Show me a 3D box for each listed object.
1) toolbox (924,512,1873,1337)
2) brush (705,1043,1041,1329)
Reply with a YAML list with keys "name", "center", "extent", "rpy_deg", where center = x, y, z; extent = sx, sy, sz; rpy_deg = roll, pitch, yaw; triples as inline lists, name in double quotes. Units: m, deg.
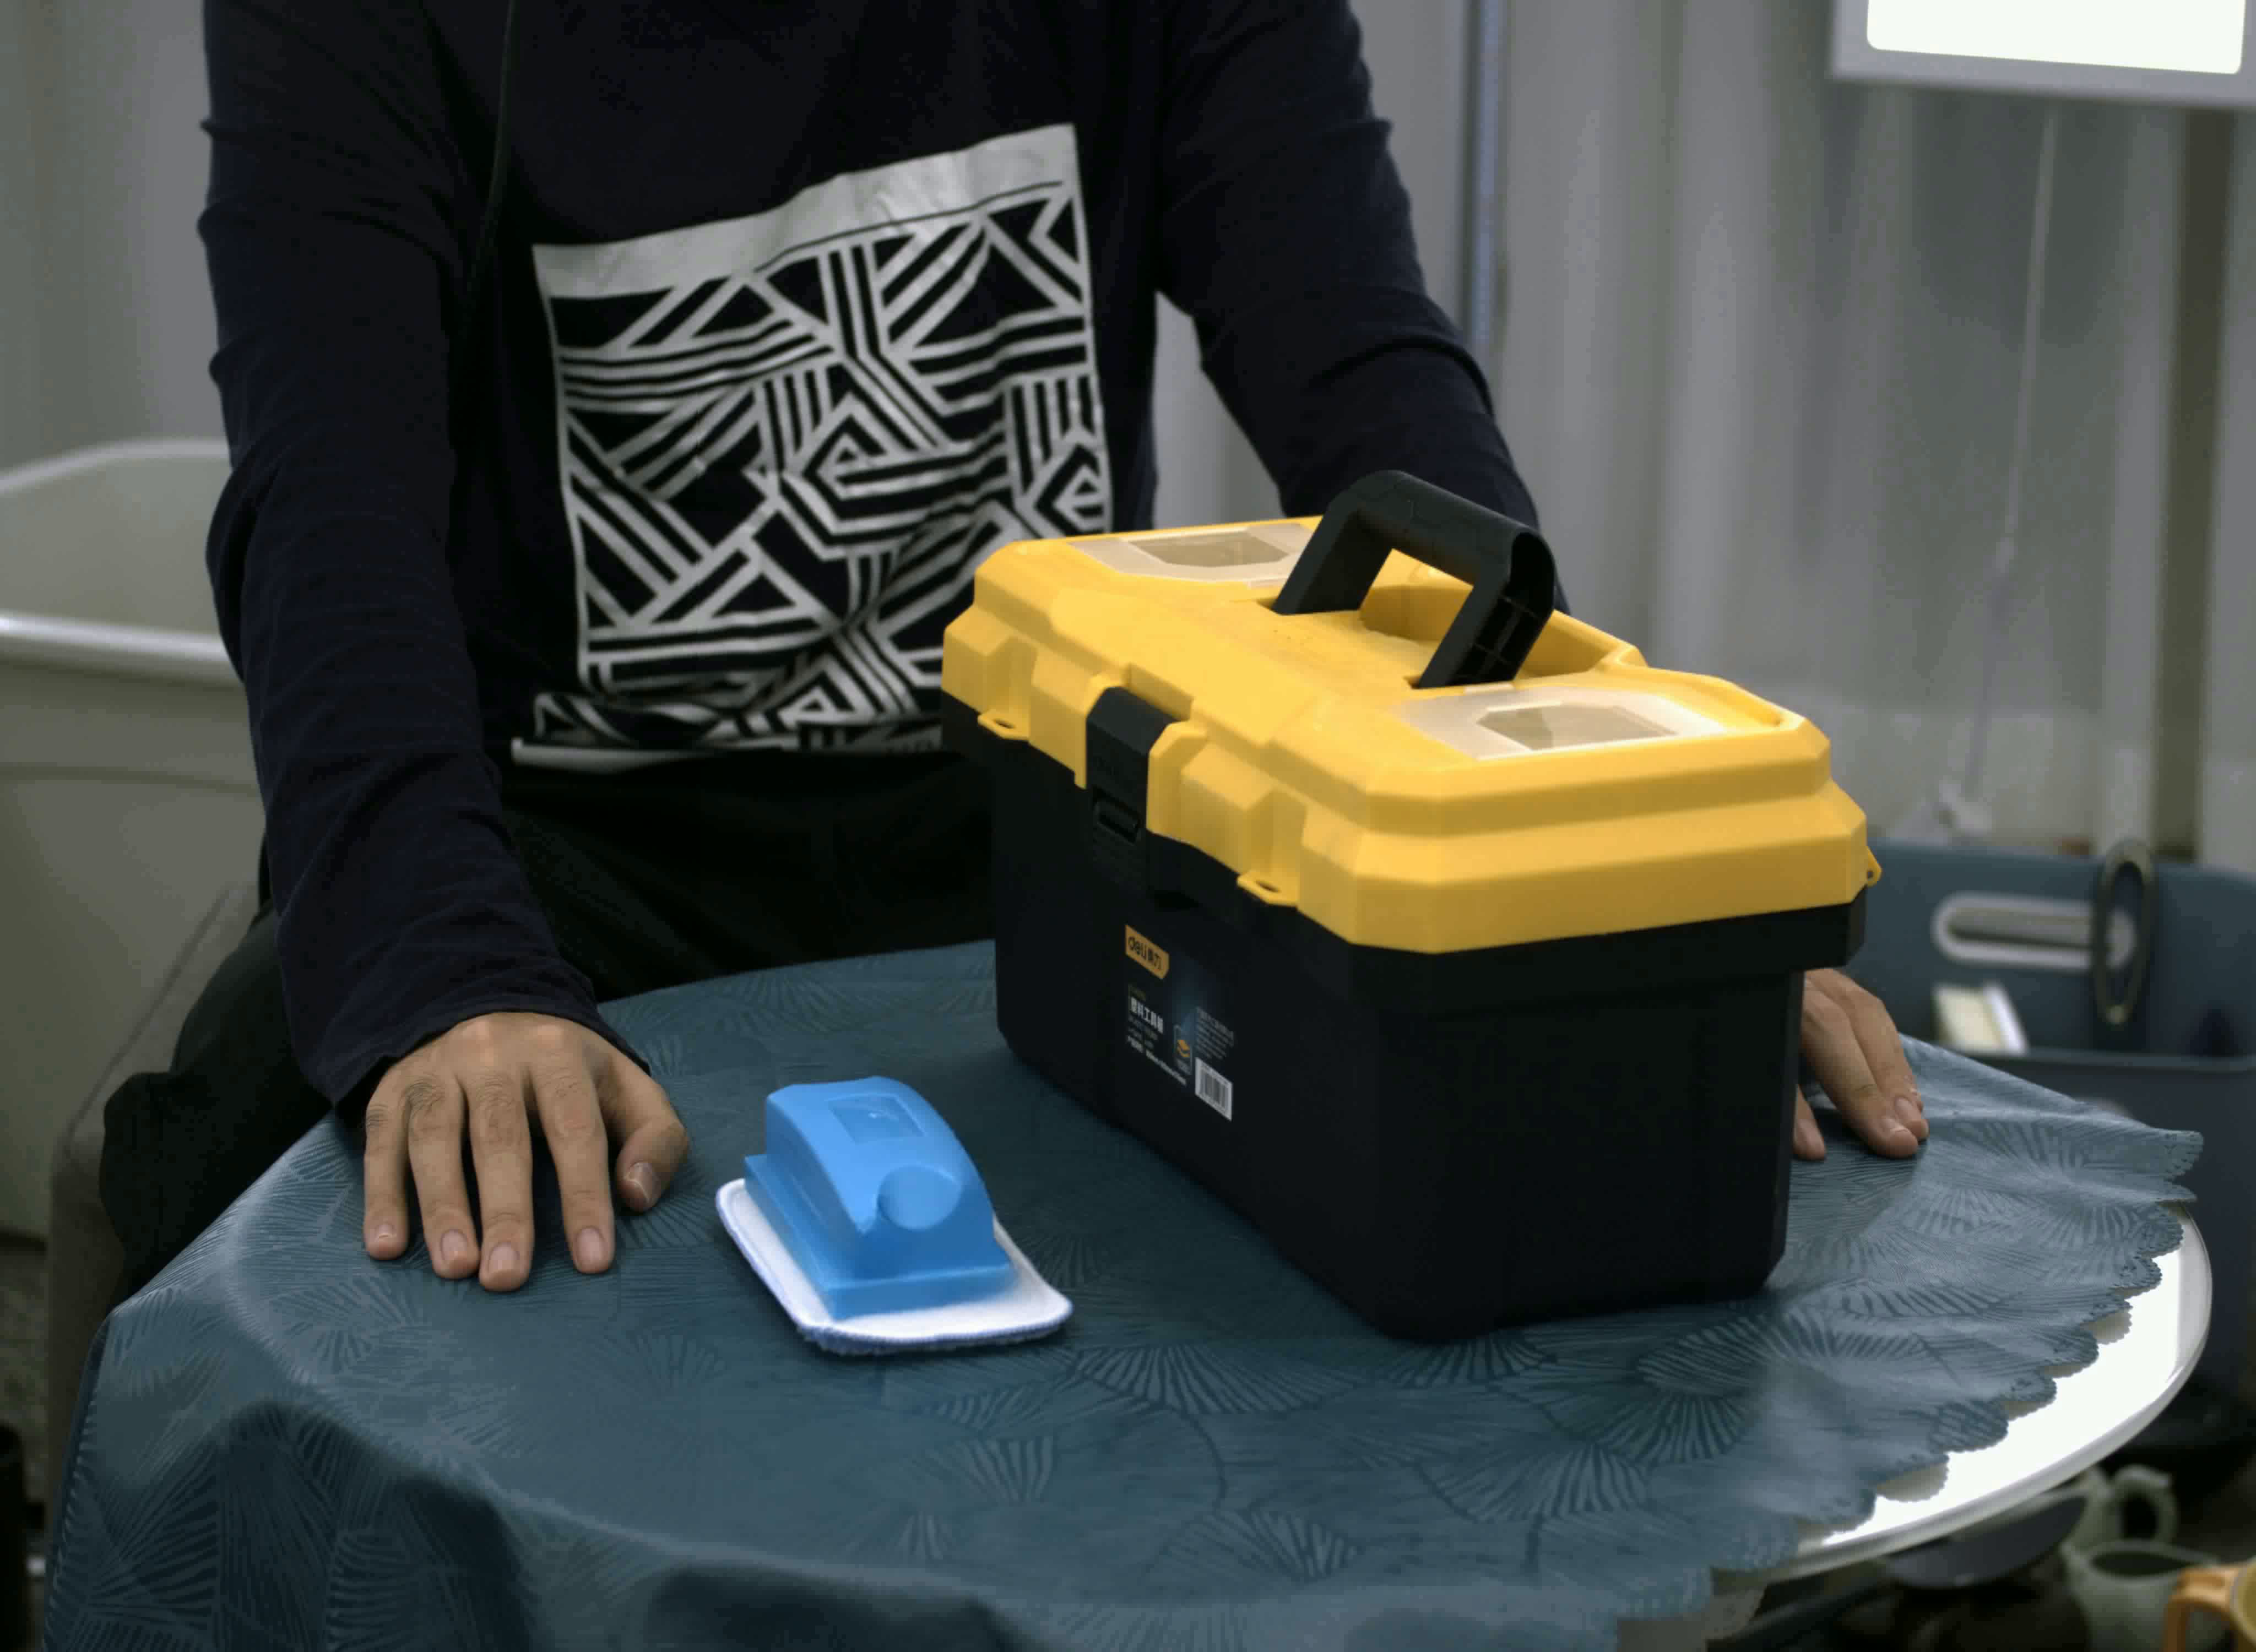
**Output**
- name: "toolbox"
  center: [0.074, 0.021, 1.629]
  extent: [0.182, 0.174, 0.347]
  rpy_deg: [-6, 17, -23]
- name: "brush"
  center: [-0.074, 0.102, 1.545]
  extent: [0.084, 0.056, 0.142]
  rpy_deg: [0, 17, -15]
